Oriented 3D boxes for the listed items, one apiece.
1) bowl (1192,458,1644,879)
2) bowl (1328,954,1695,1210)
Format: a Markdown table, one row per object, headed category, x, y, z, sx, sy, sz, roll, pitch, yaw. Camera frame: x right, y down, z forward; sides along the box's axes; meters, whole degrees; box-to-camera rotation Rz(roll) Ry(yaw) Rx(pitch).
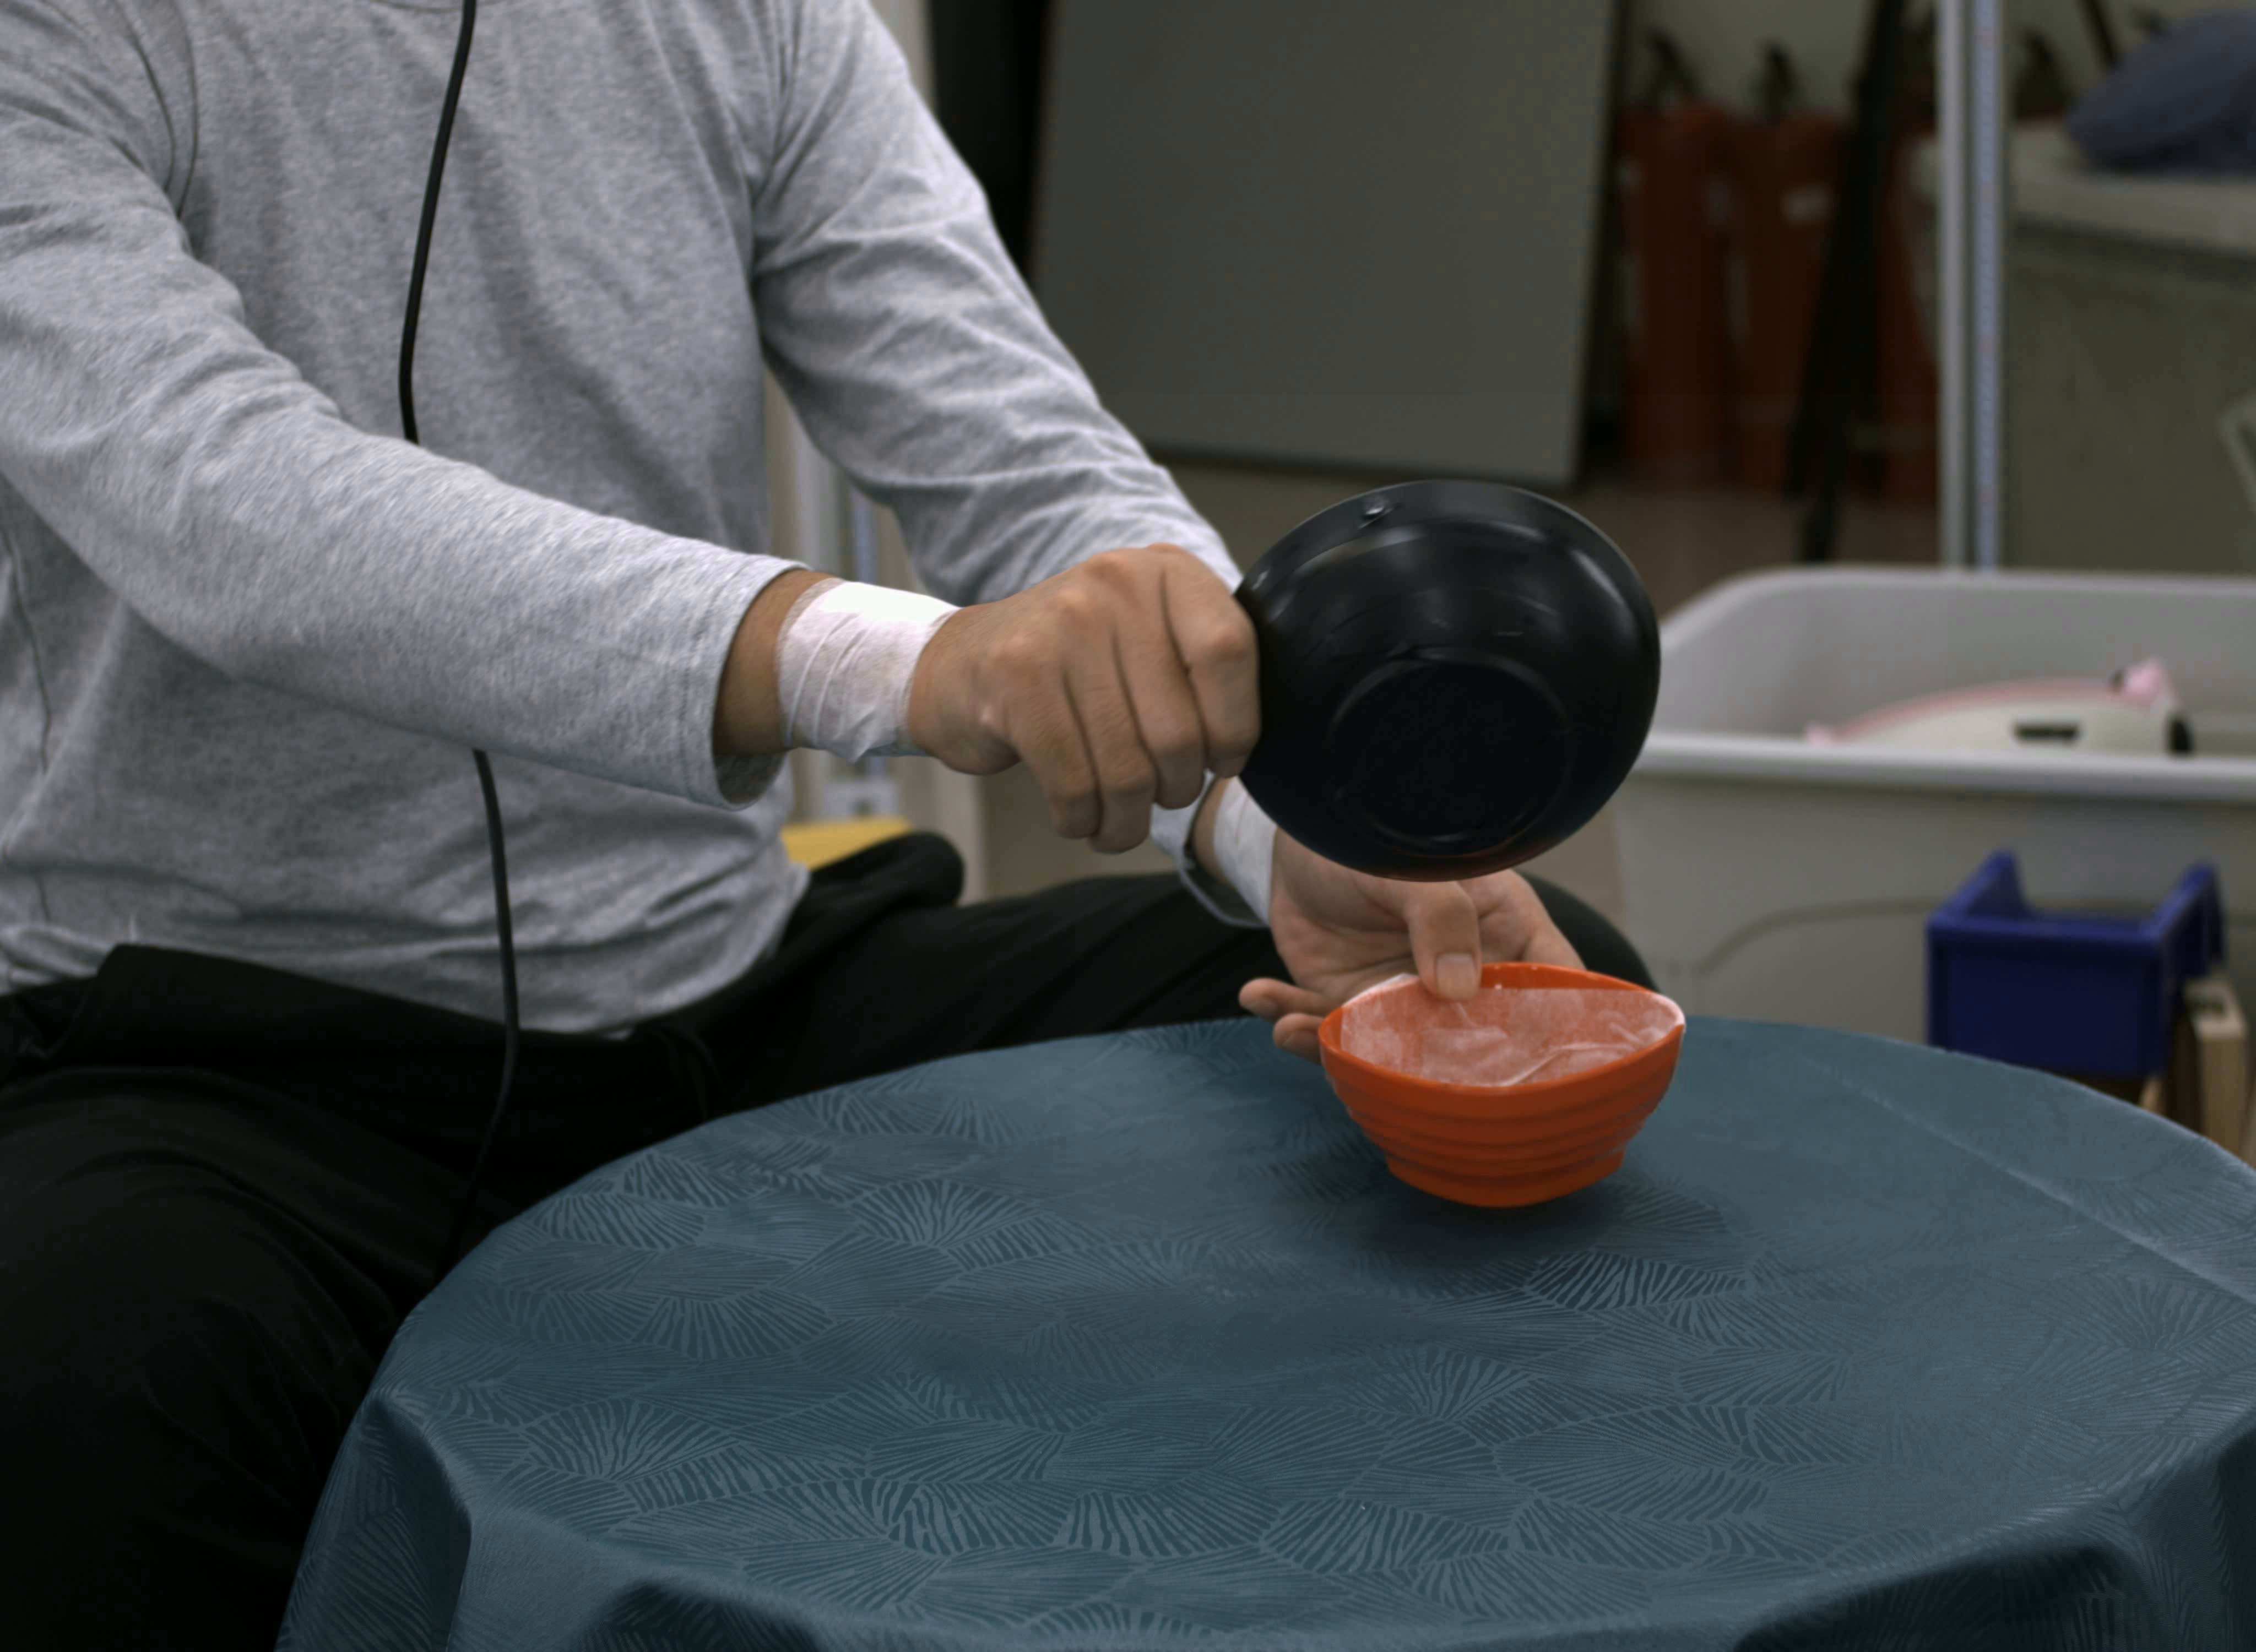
| category | x | y | z | sx | sy | sz | roll | pitch | yaw |
| --- | --- | --- | --- | --- | --- | --- | --- | --- | --- |
| bowl | 0.089 | -0.037 | 1.604 | 0.138 | 0.141 | 0.050 | -4 | 33 | -2 |
| bowl | 0.124 | 0.085 | 1.730 | 0.117 | 0.052 | 0.119 | -5 | 19 | 1 |
